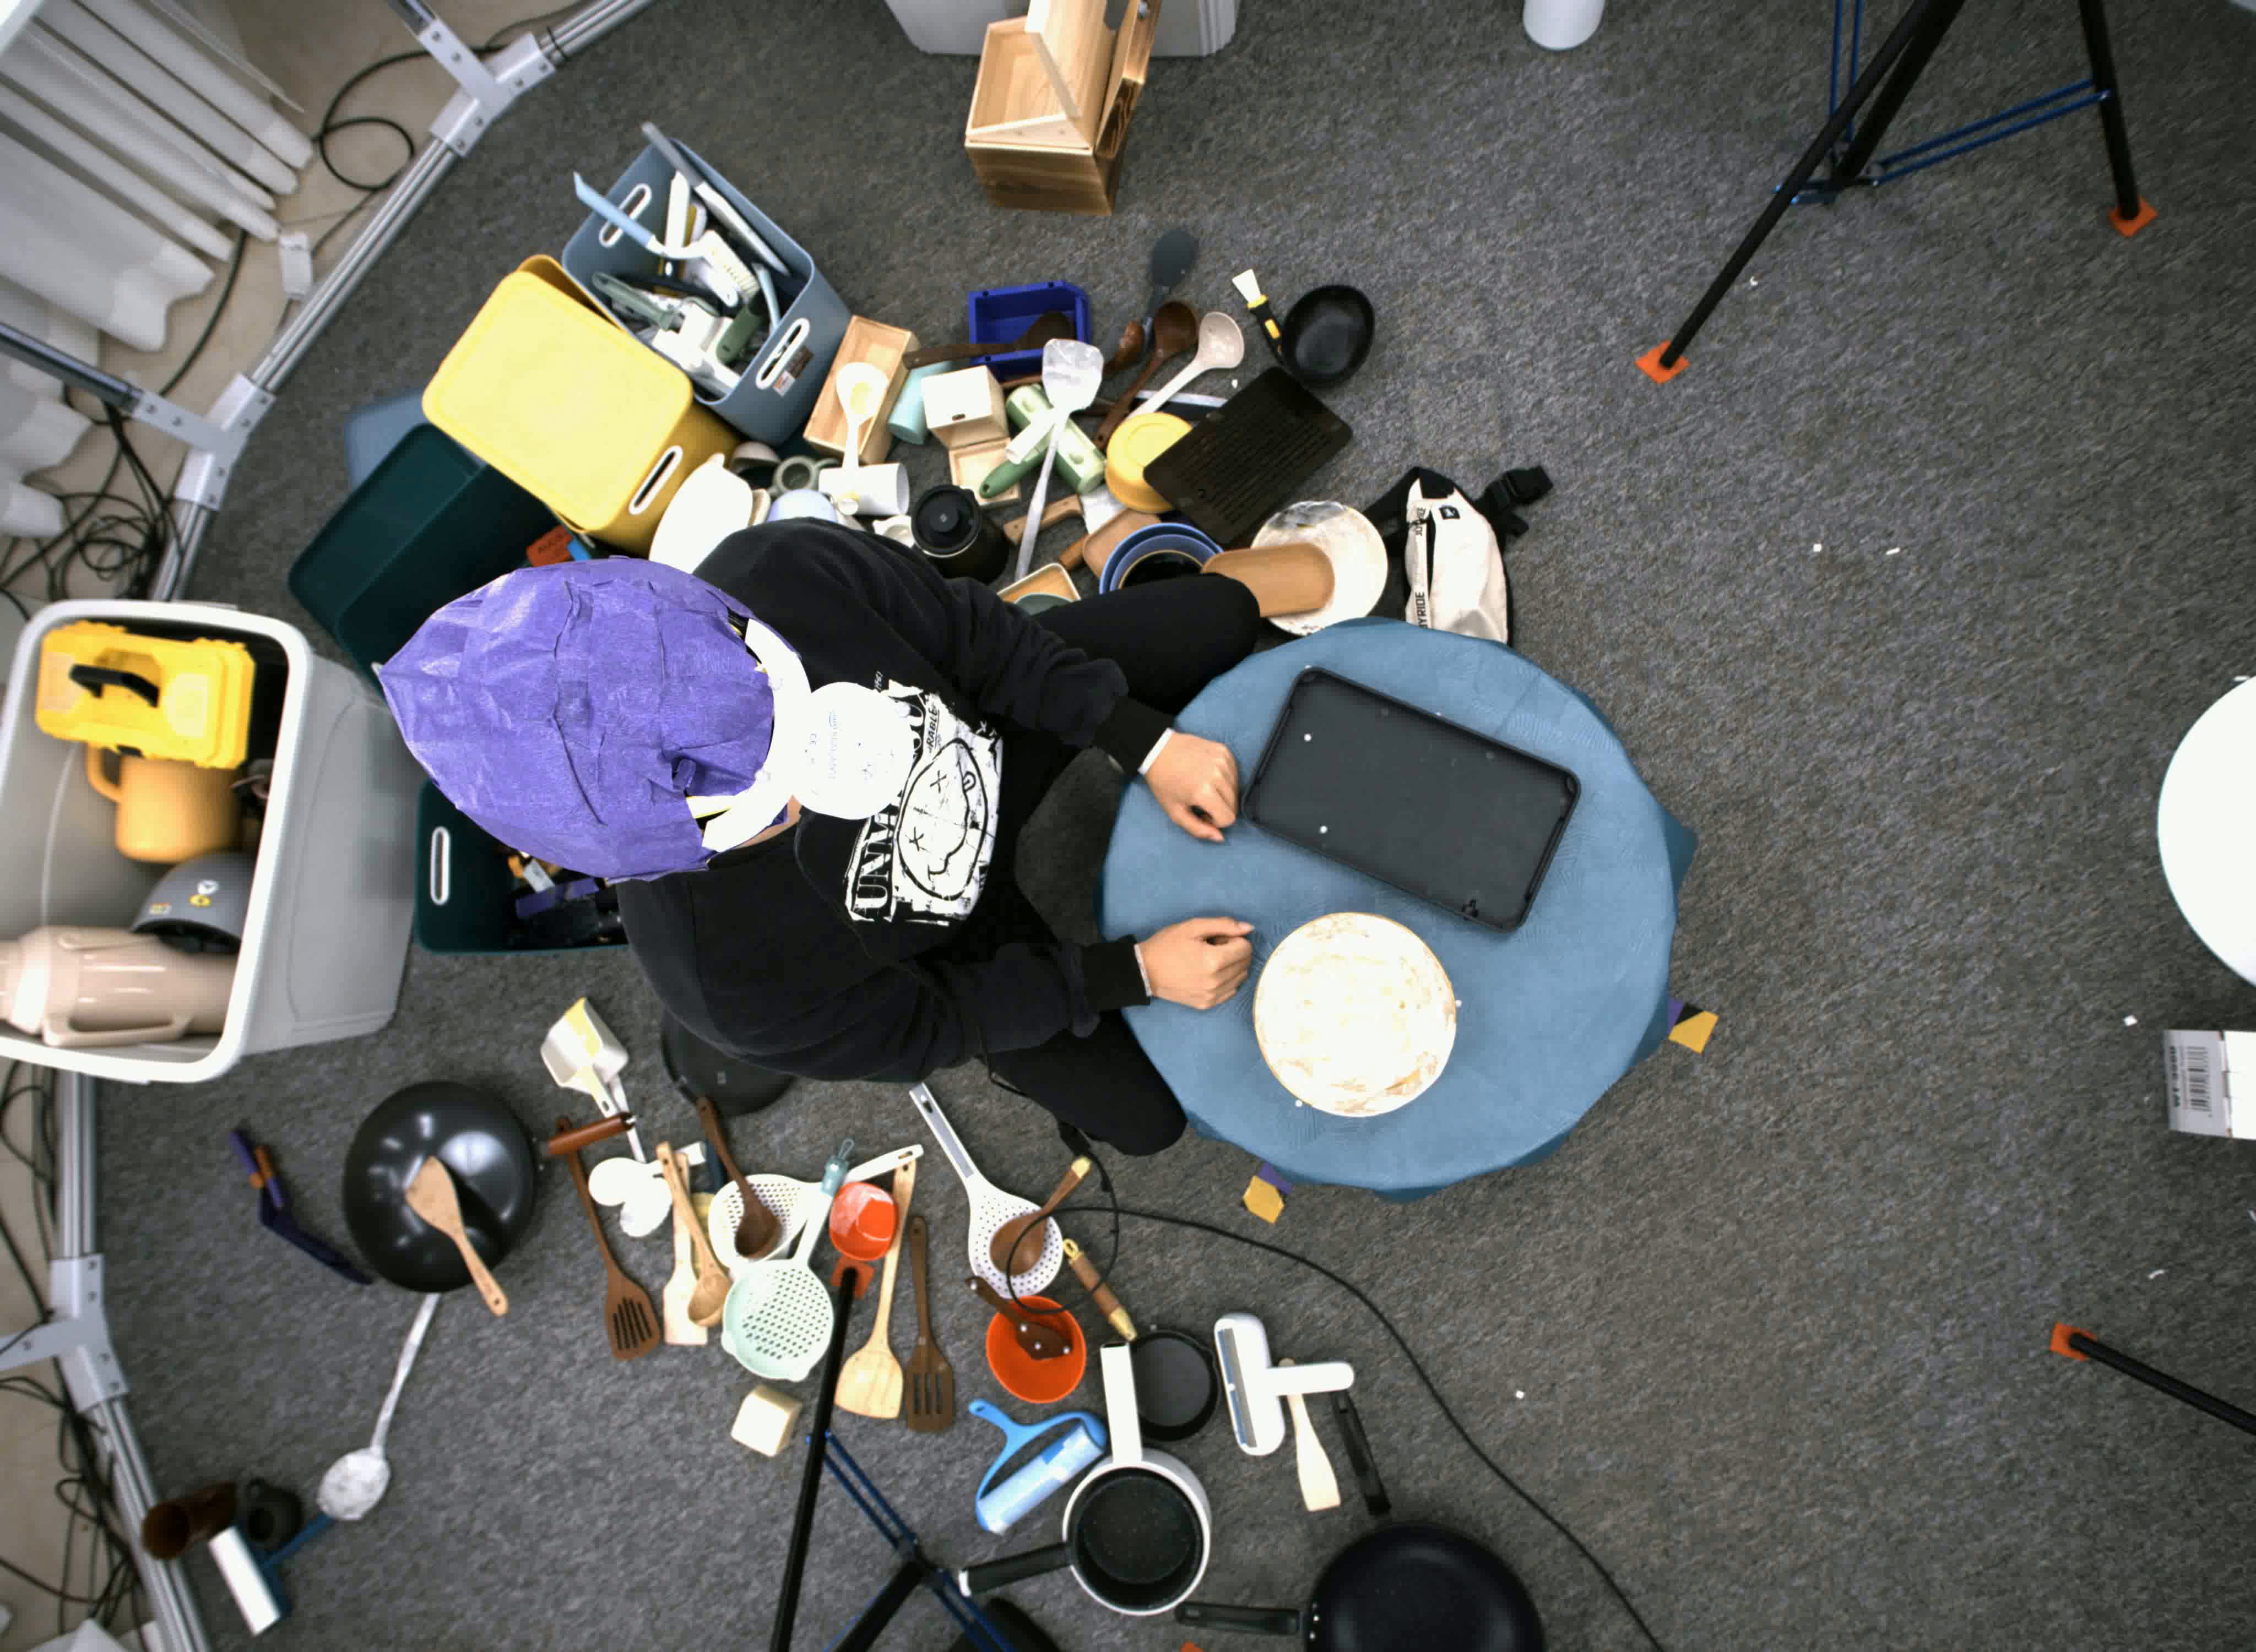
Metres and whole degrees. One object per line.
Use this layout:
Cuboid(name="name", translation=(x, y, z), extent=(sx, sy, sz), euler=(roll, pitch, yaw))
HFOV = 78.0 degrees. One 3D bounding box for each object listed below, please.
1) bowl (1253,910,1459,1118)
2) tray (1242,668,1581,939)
Cuboid(name="bowl", translation=(0.234, 0.187, 1.416), extent=(0.215, 0.094, 0.214), euler=(-1, 87, 11))
Cuboid(name="tray", translation=(0.296, -0.026, 1.451), extent=(0.318, 0.037, 0.184), euler=(26, 90, 10))
